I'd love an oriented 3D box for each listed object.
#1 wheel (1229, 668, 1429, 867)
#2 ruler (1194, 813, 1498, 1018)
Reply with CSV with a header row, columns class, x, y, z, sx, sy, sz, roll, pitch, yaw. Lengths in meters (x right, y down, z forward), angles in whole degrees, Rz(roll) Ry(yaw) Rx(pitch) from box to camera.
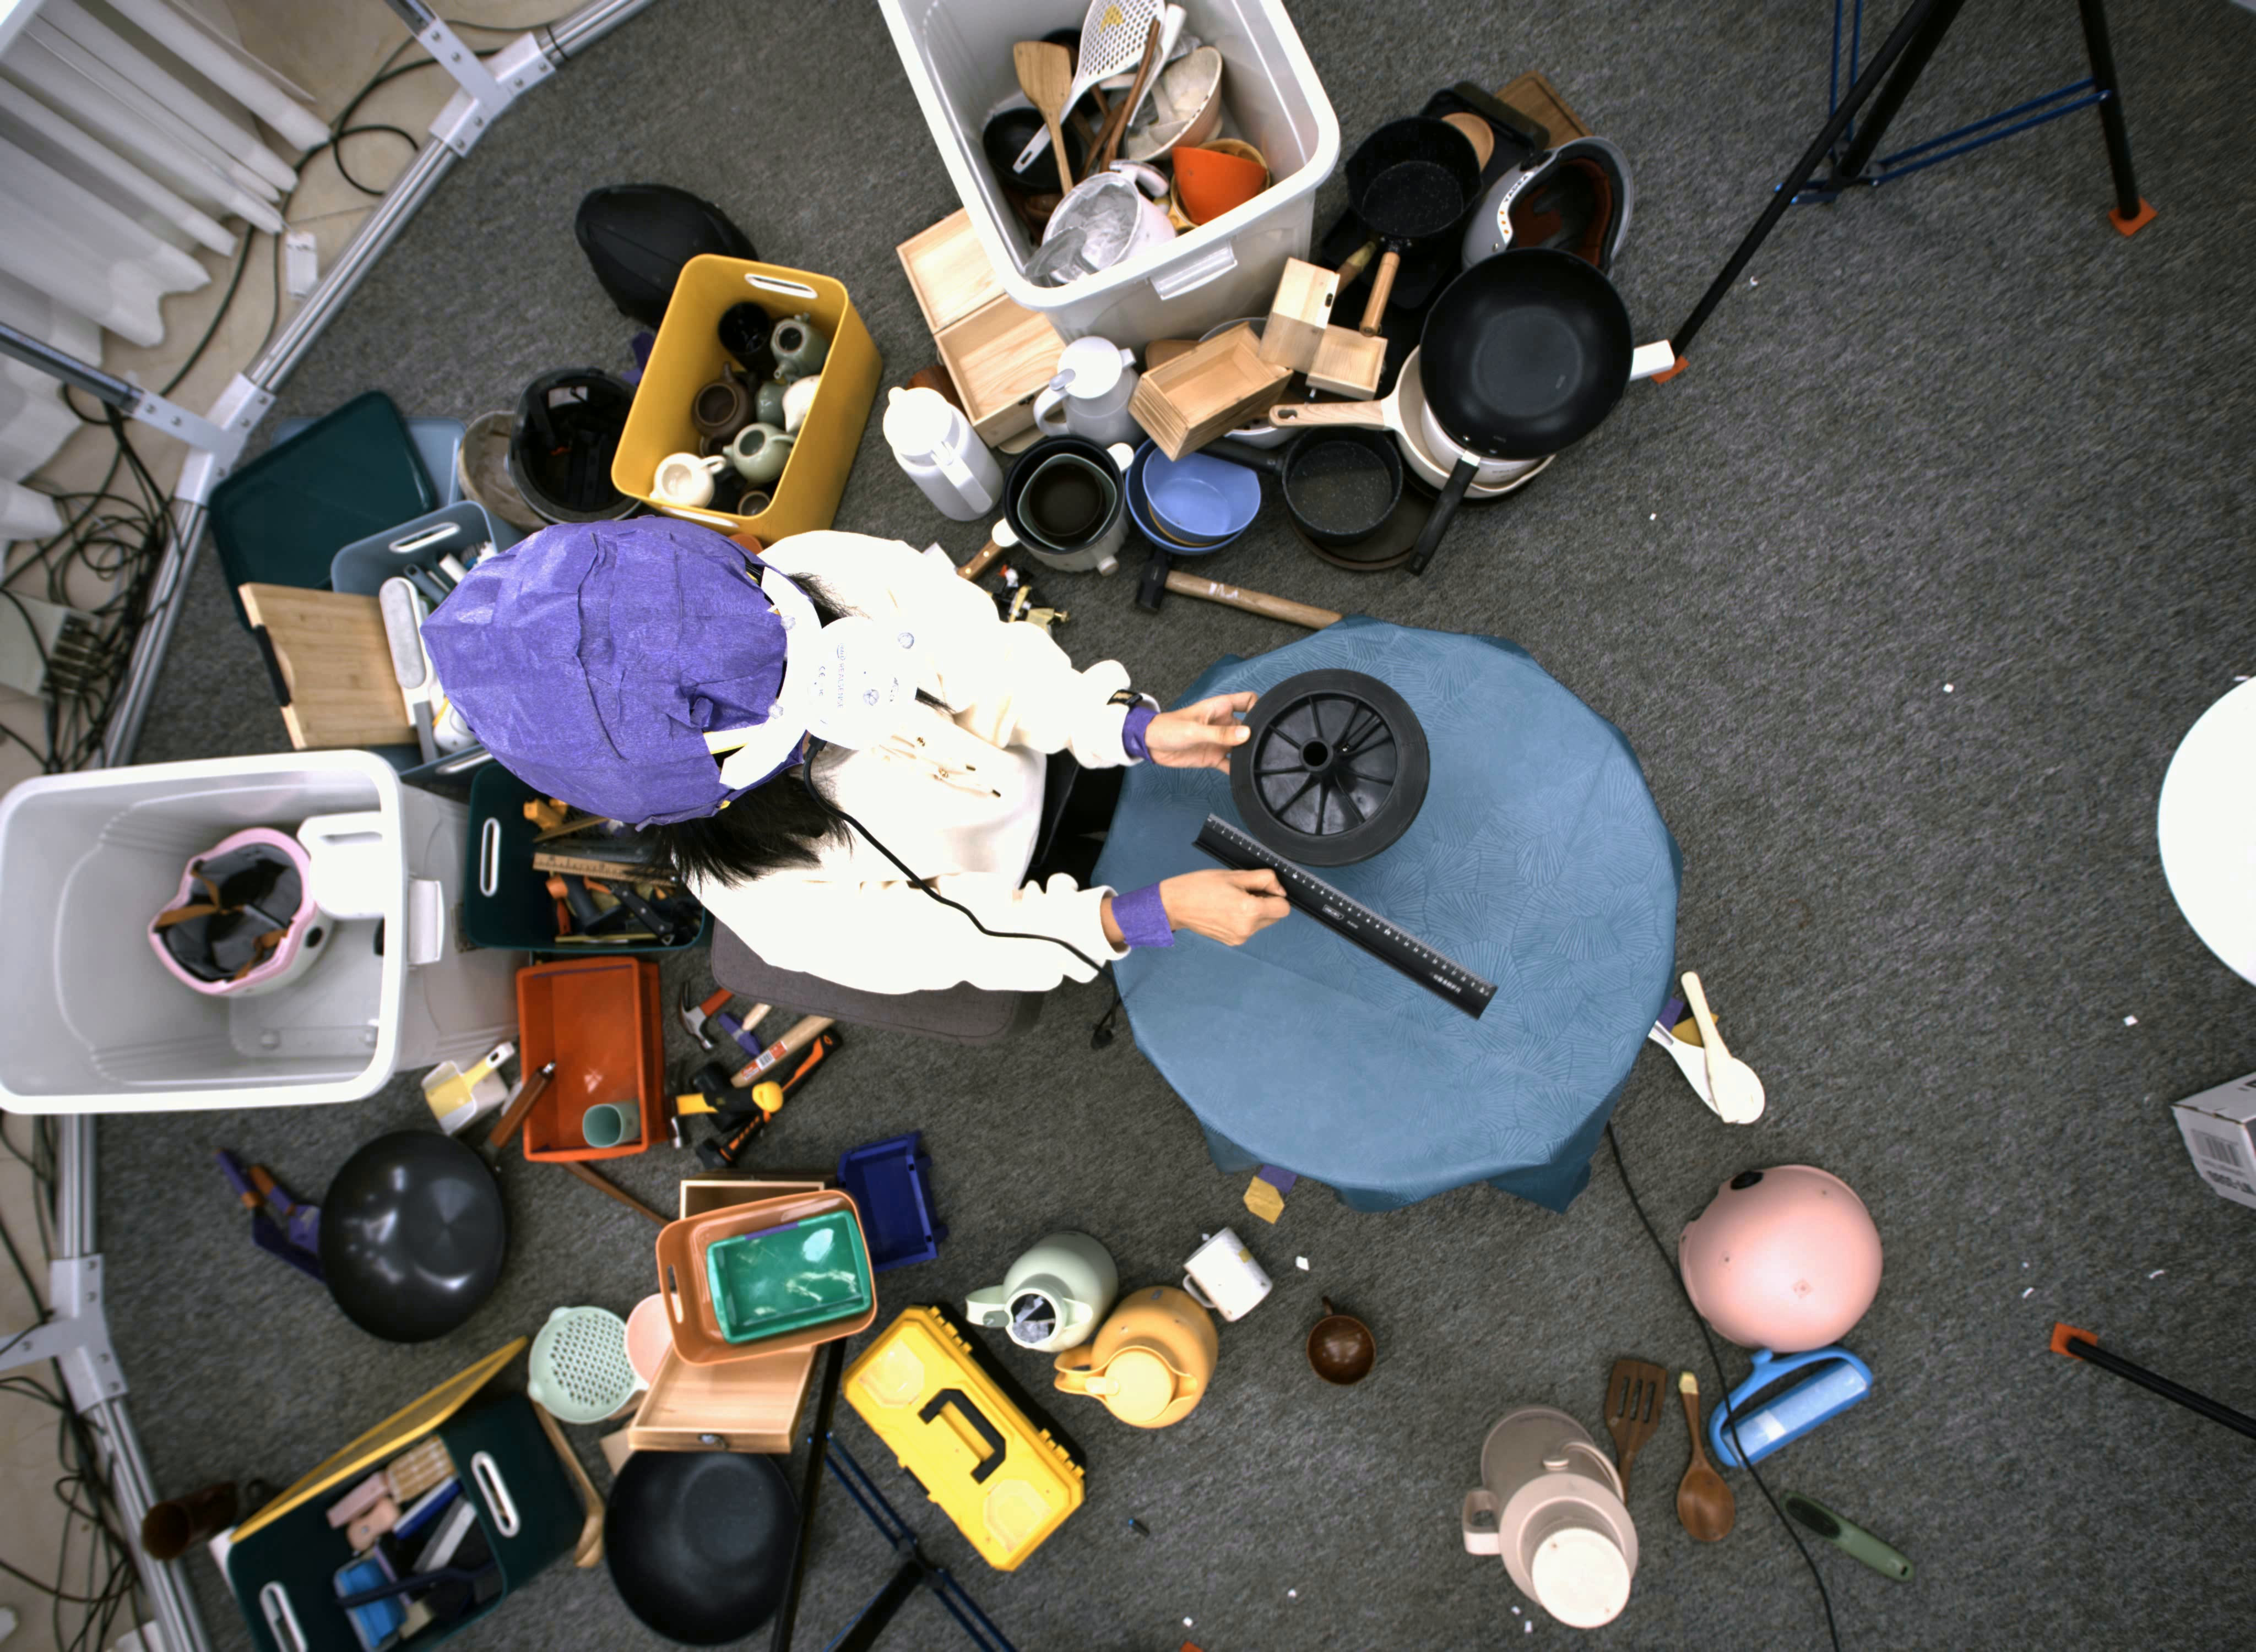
class,x,y,z,sx,sy,sz,roll,pitch,yaw
wheel,0.181,-0.060,1.272,0.187,0.079,0.190,26,92,20
ruler,0.198,0.081,1.283,0.311,0.017,0.040,32,117,13
